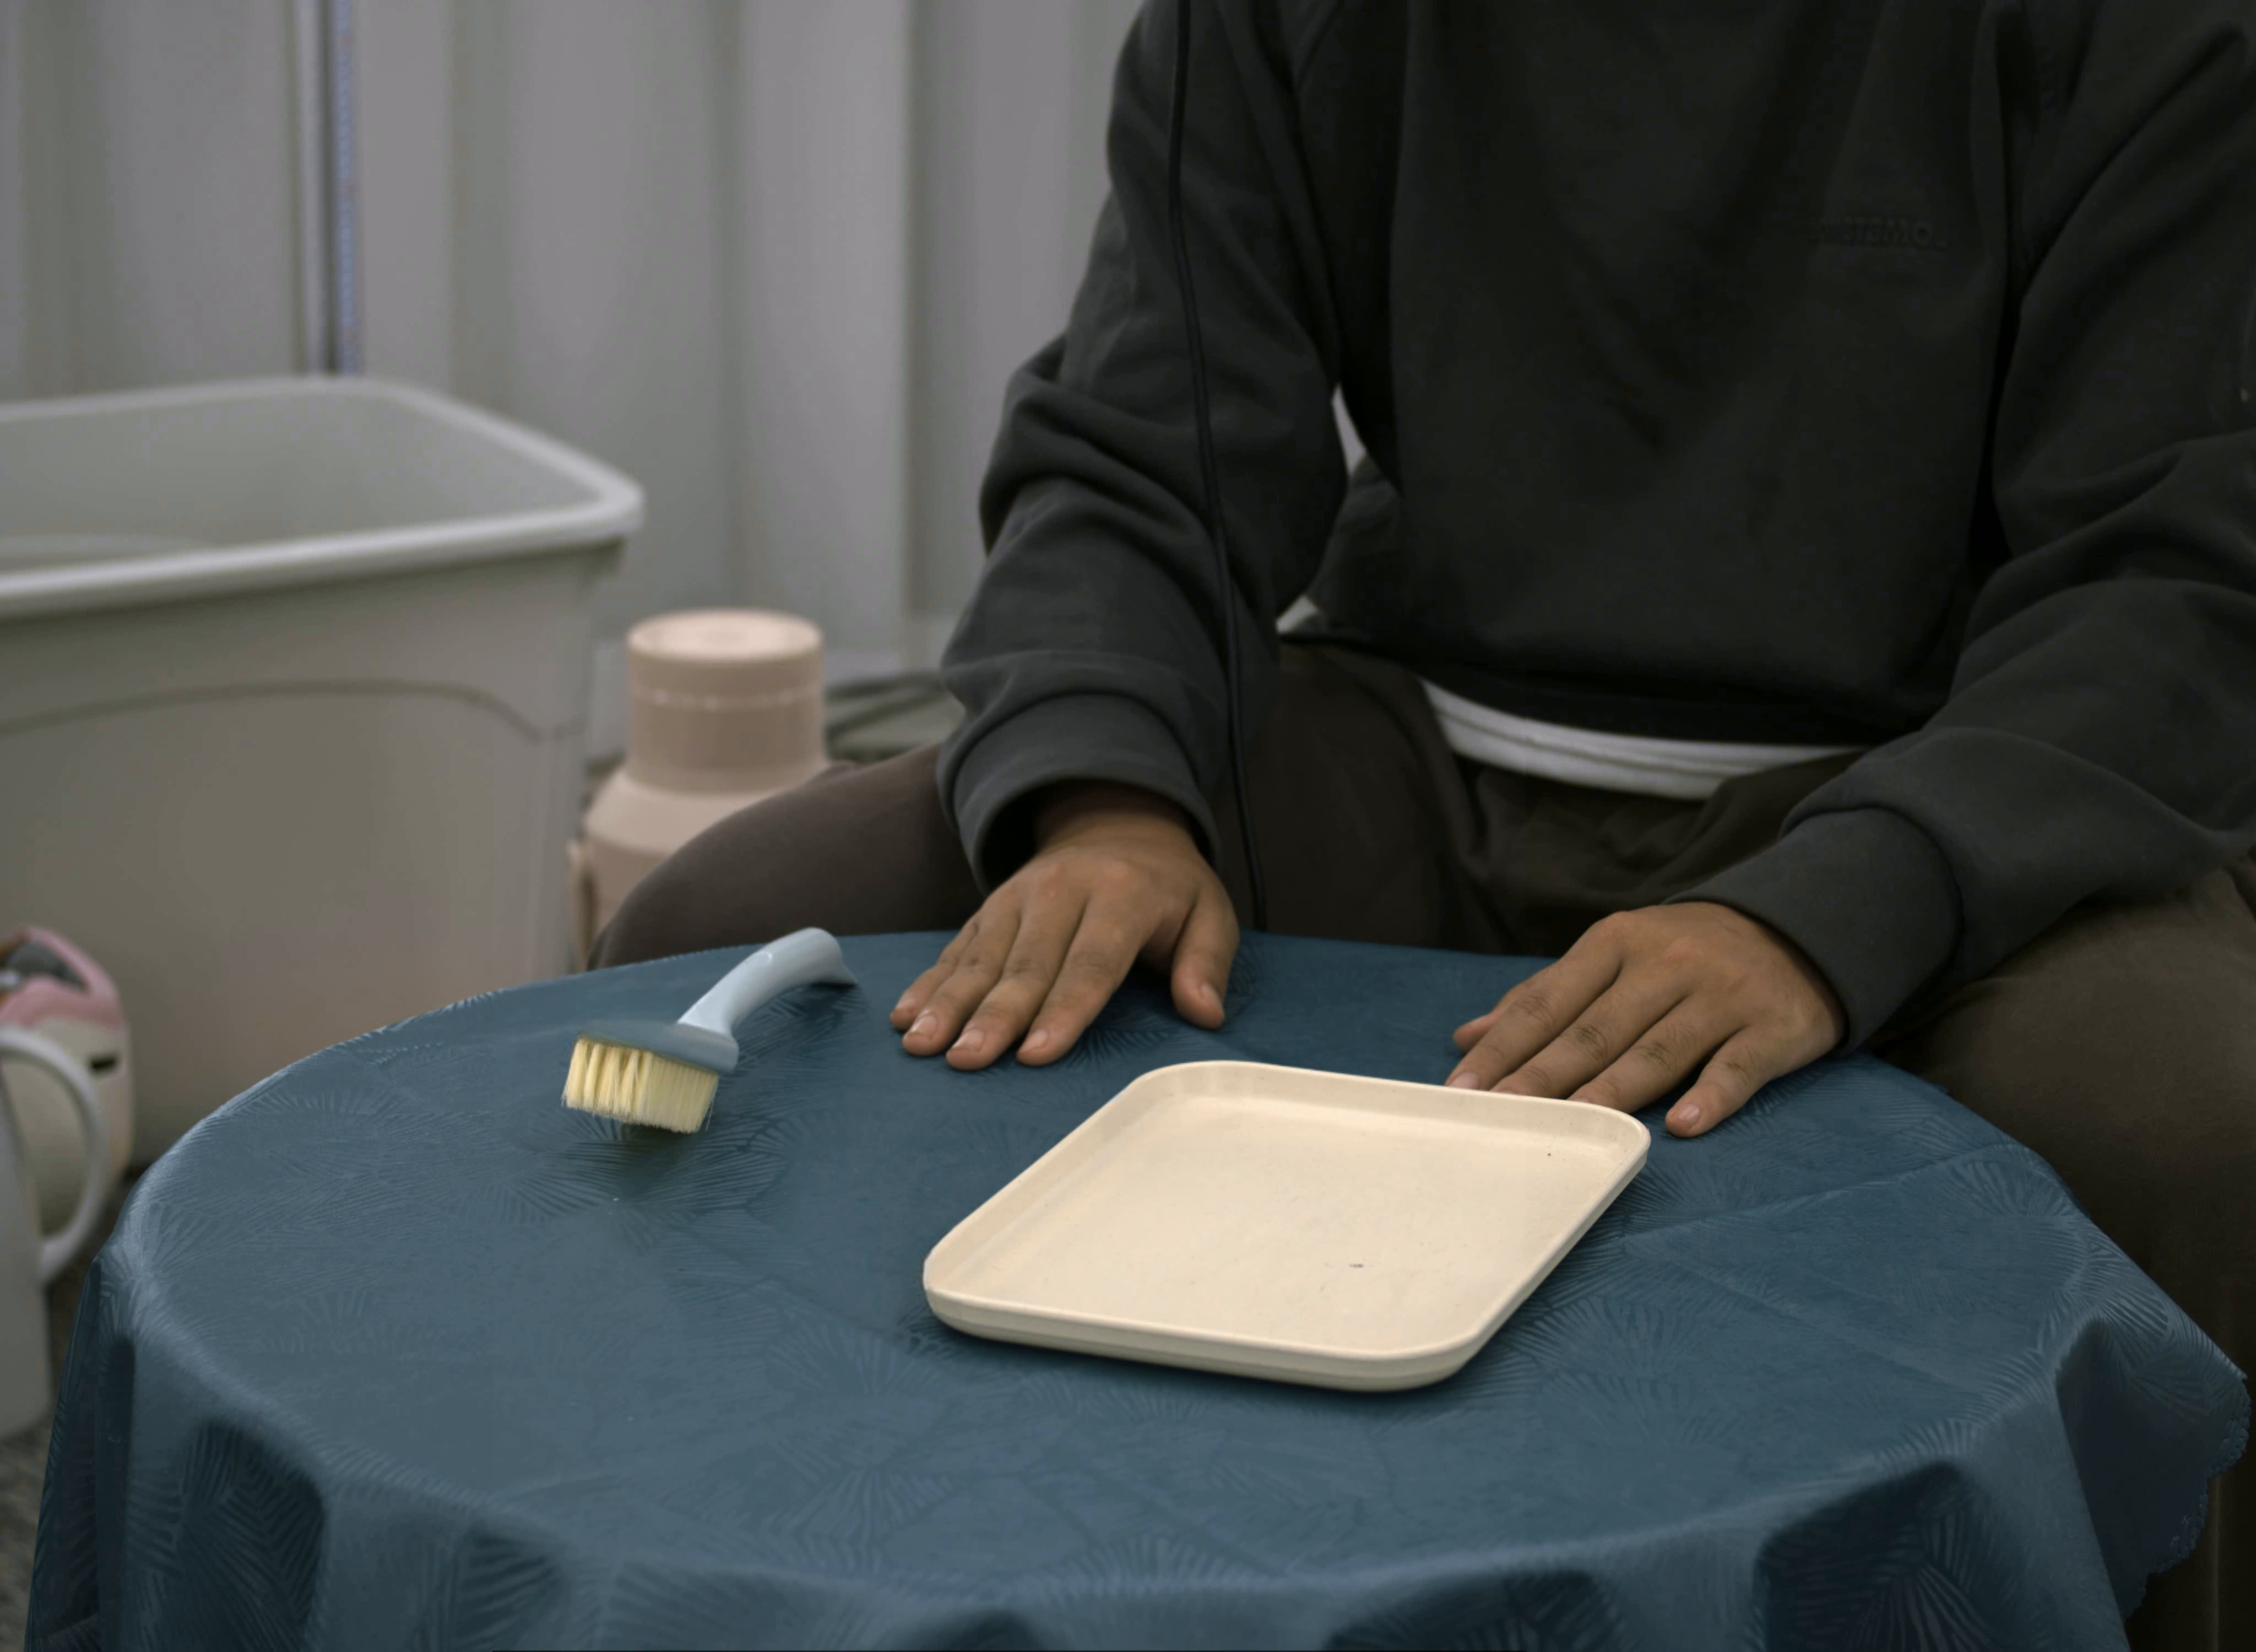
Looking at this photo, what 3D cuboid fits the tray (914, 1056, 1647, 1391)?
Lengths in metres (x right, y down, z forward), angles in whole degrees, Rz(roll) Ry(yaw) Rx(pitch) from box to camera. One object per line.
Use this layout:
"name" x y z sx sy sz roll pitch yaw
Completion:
"tray" 0.050 0.117 1.577 0.169 0.017 0.240 7 16 19

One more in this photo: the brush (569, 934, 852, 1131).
"brush" -0.134 0.068 1.723 0.037 0.050 0.229 11 9 12
